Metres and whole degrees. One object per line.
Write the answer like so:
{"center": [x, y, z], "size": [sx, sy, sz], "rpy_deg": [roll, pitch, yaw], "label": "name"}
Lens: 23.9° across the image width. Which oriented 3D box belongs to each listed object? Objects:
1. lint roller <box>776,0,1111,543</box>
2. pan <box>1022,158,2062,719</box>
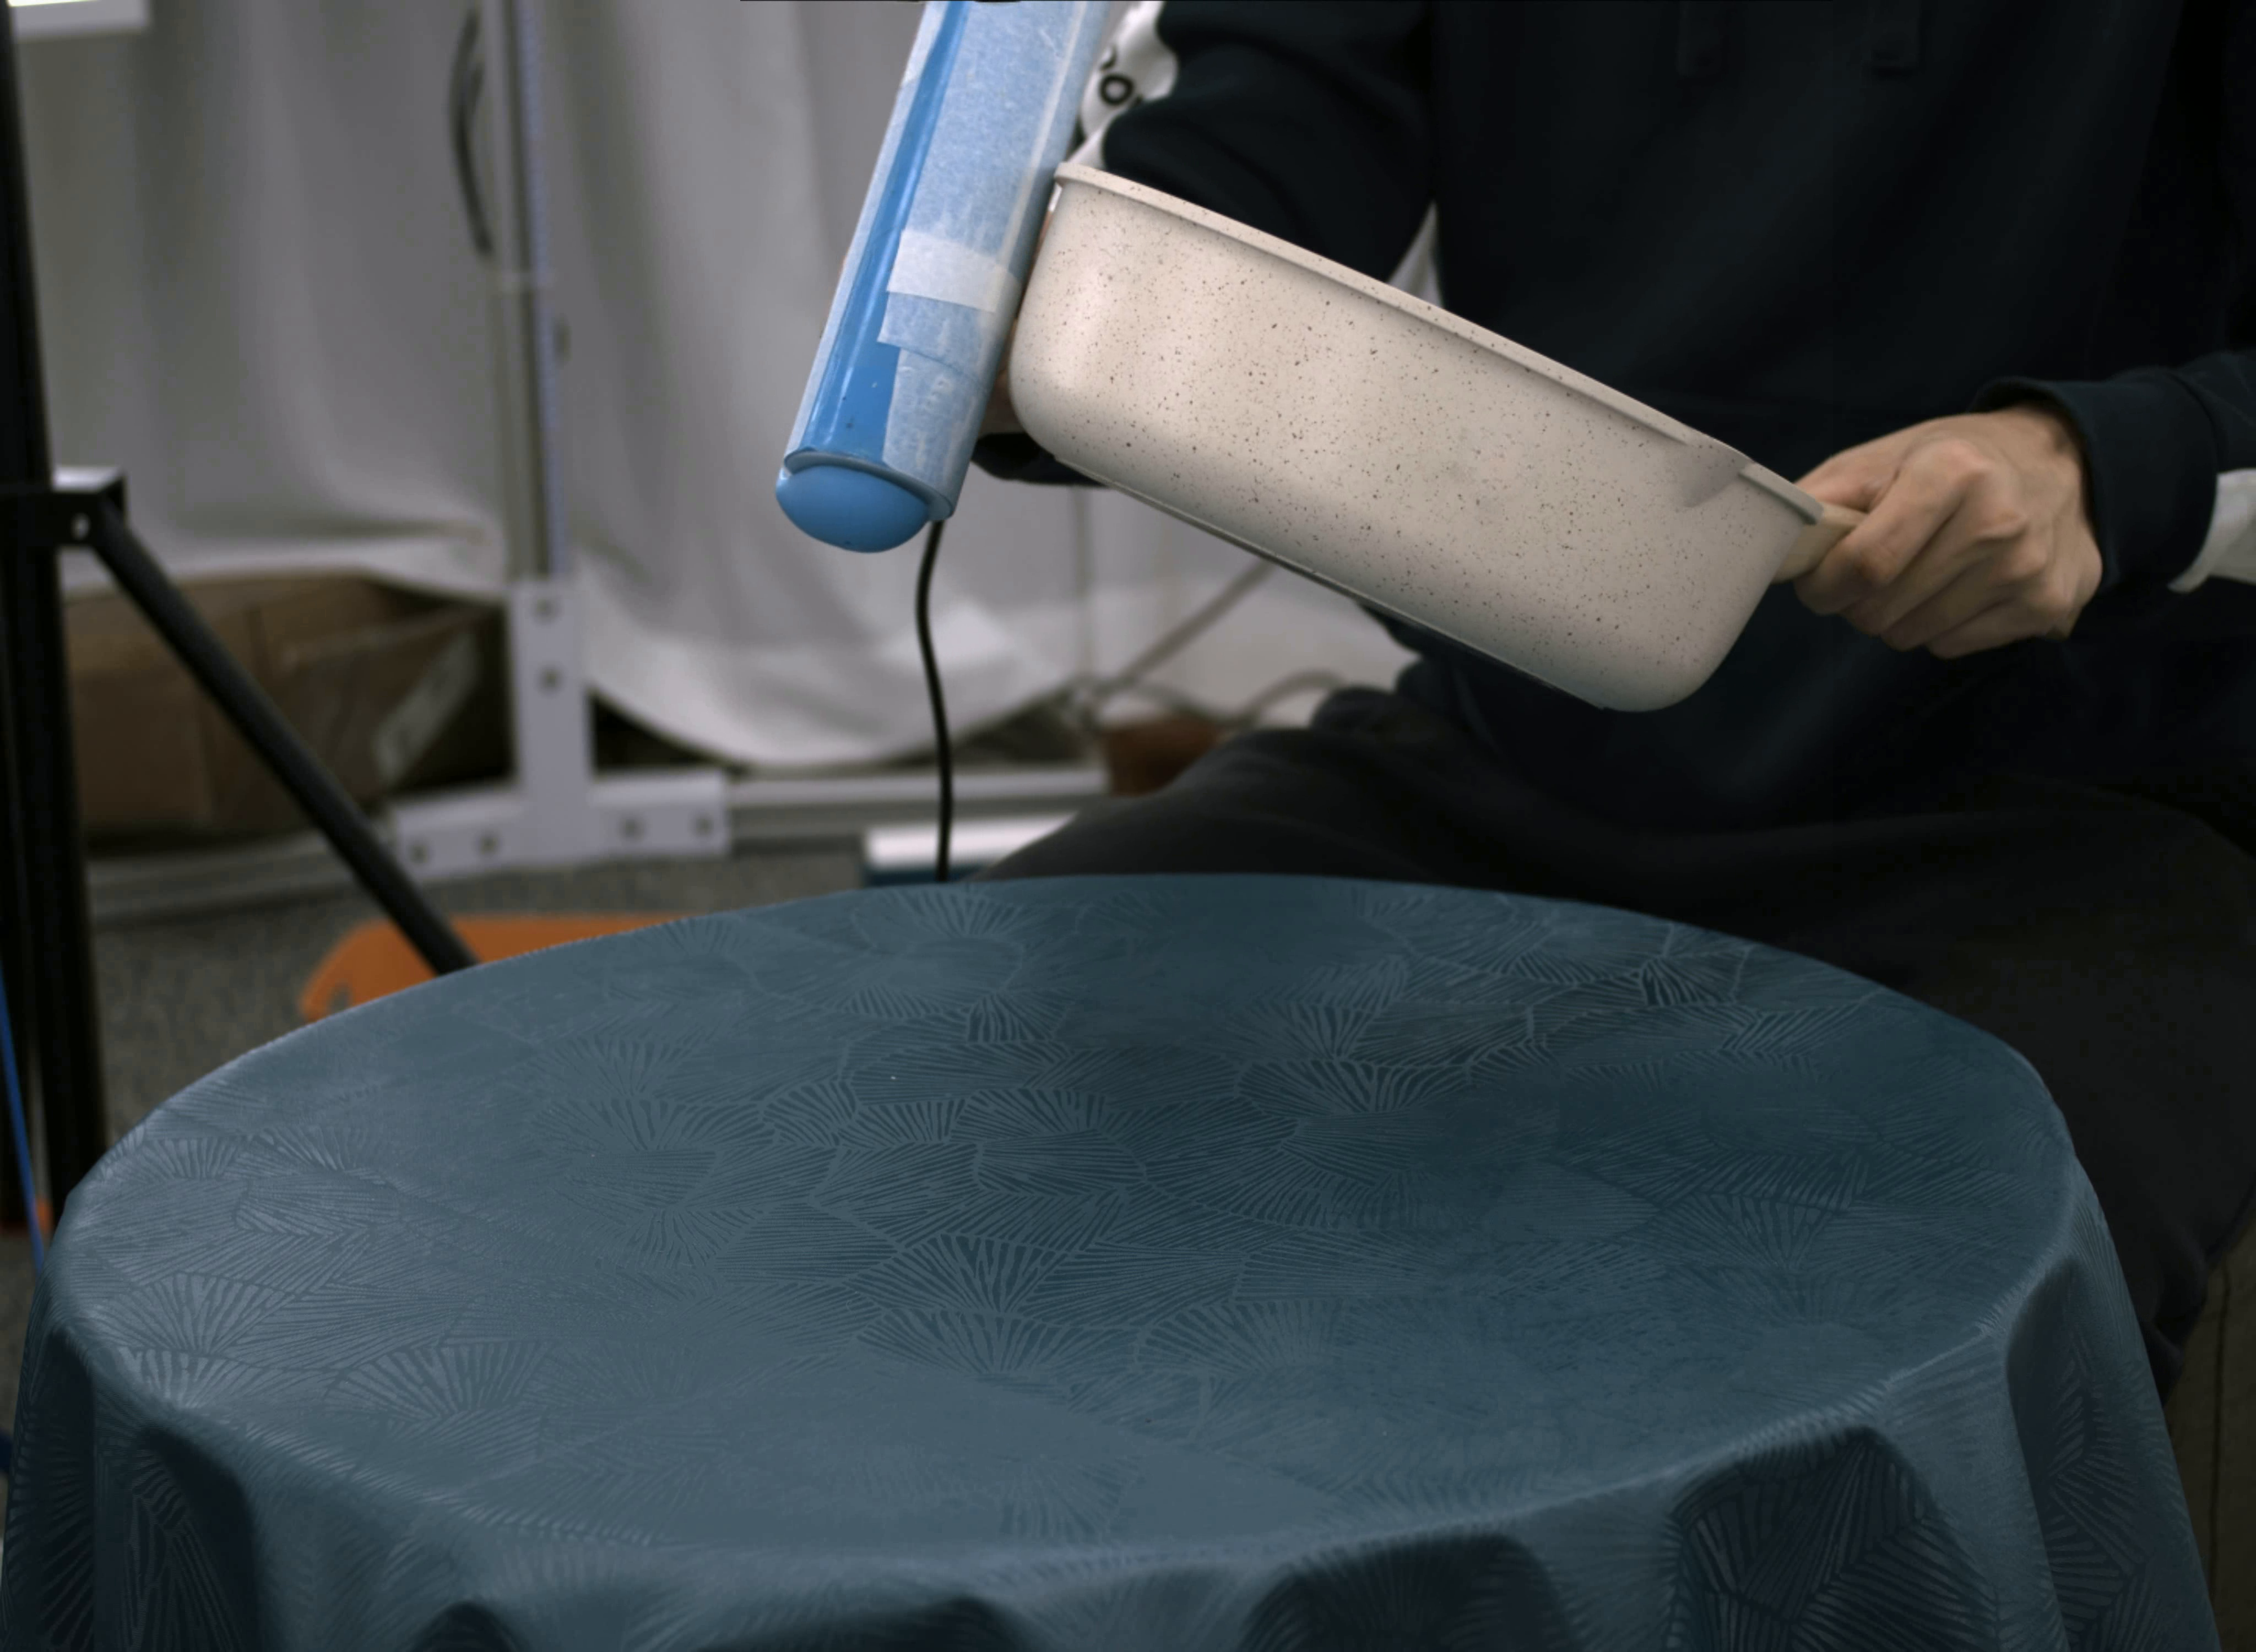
{"center": [-0.049, -0.174, 1.659], "size": [0.068, 0.230, 0.179], "rpy_deg": [14, -17, 6], "label": "lint roller"}
{"center": [0.146, -0.089, 1.643], "size": [0.423, 0.102, 0.269], "rpy_deg": [23, 2, -41], "label": "pan"}
